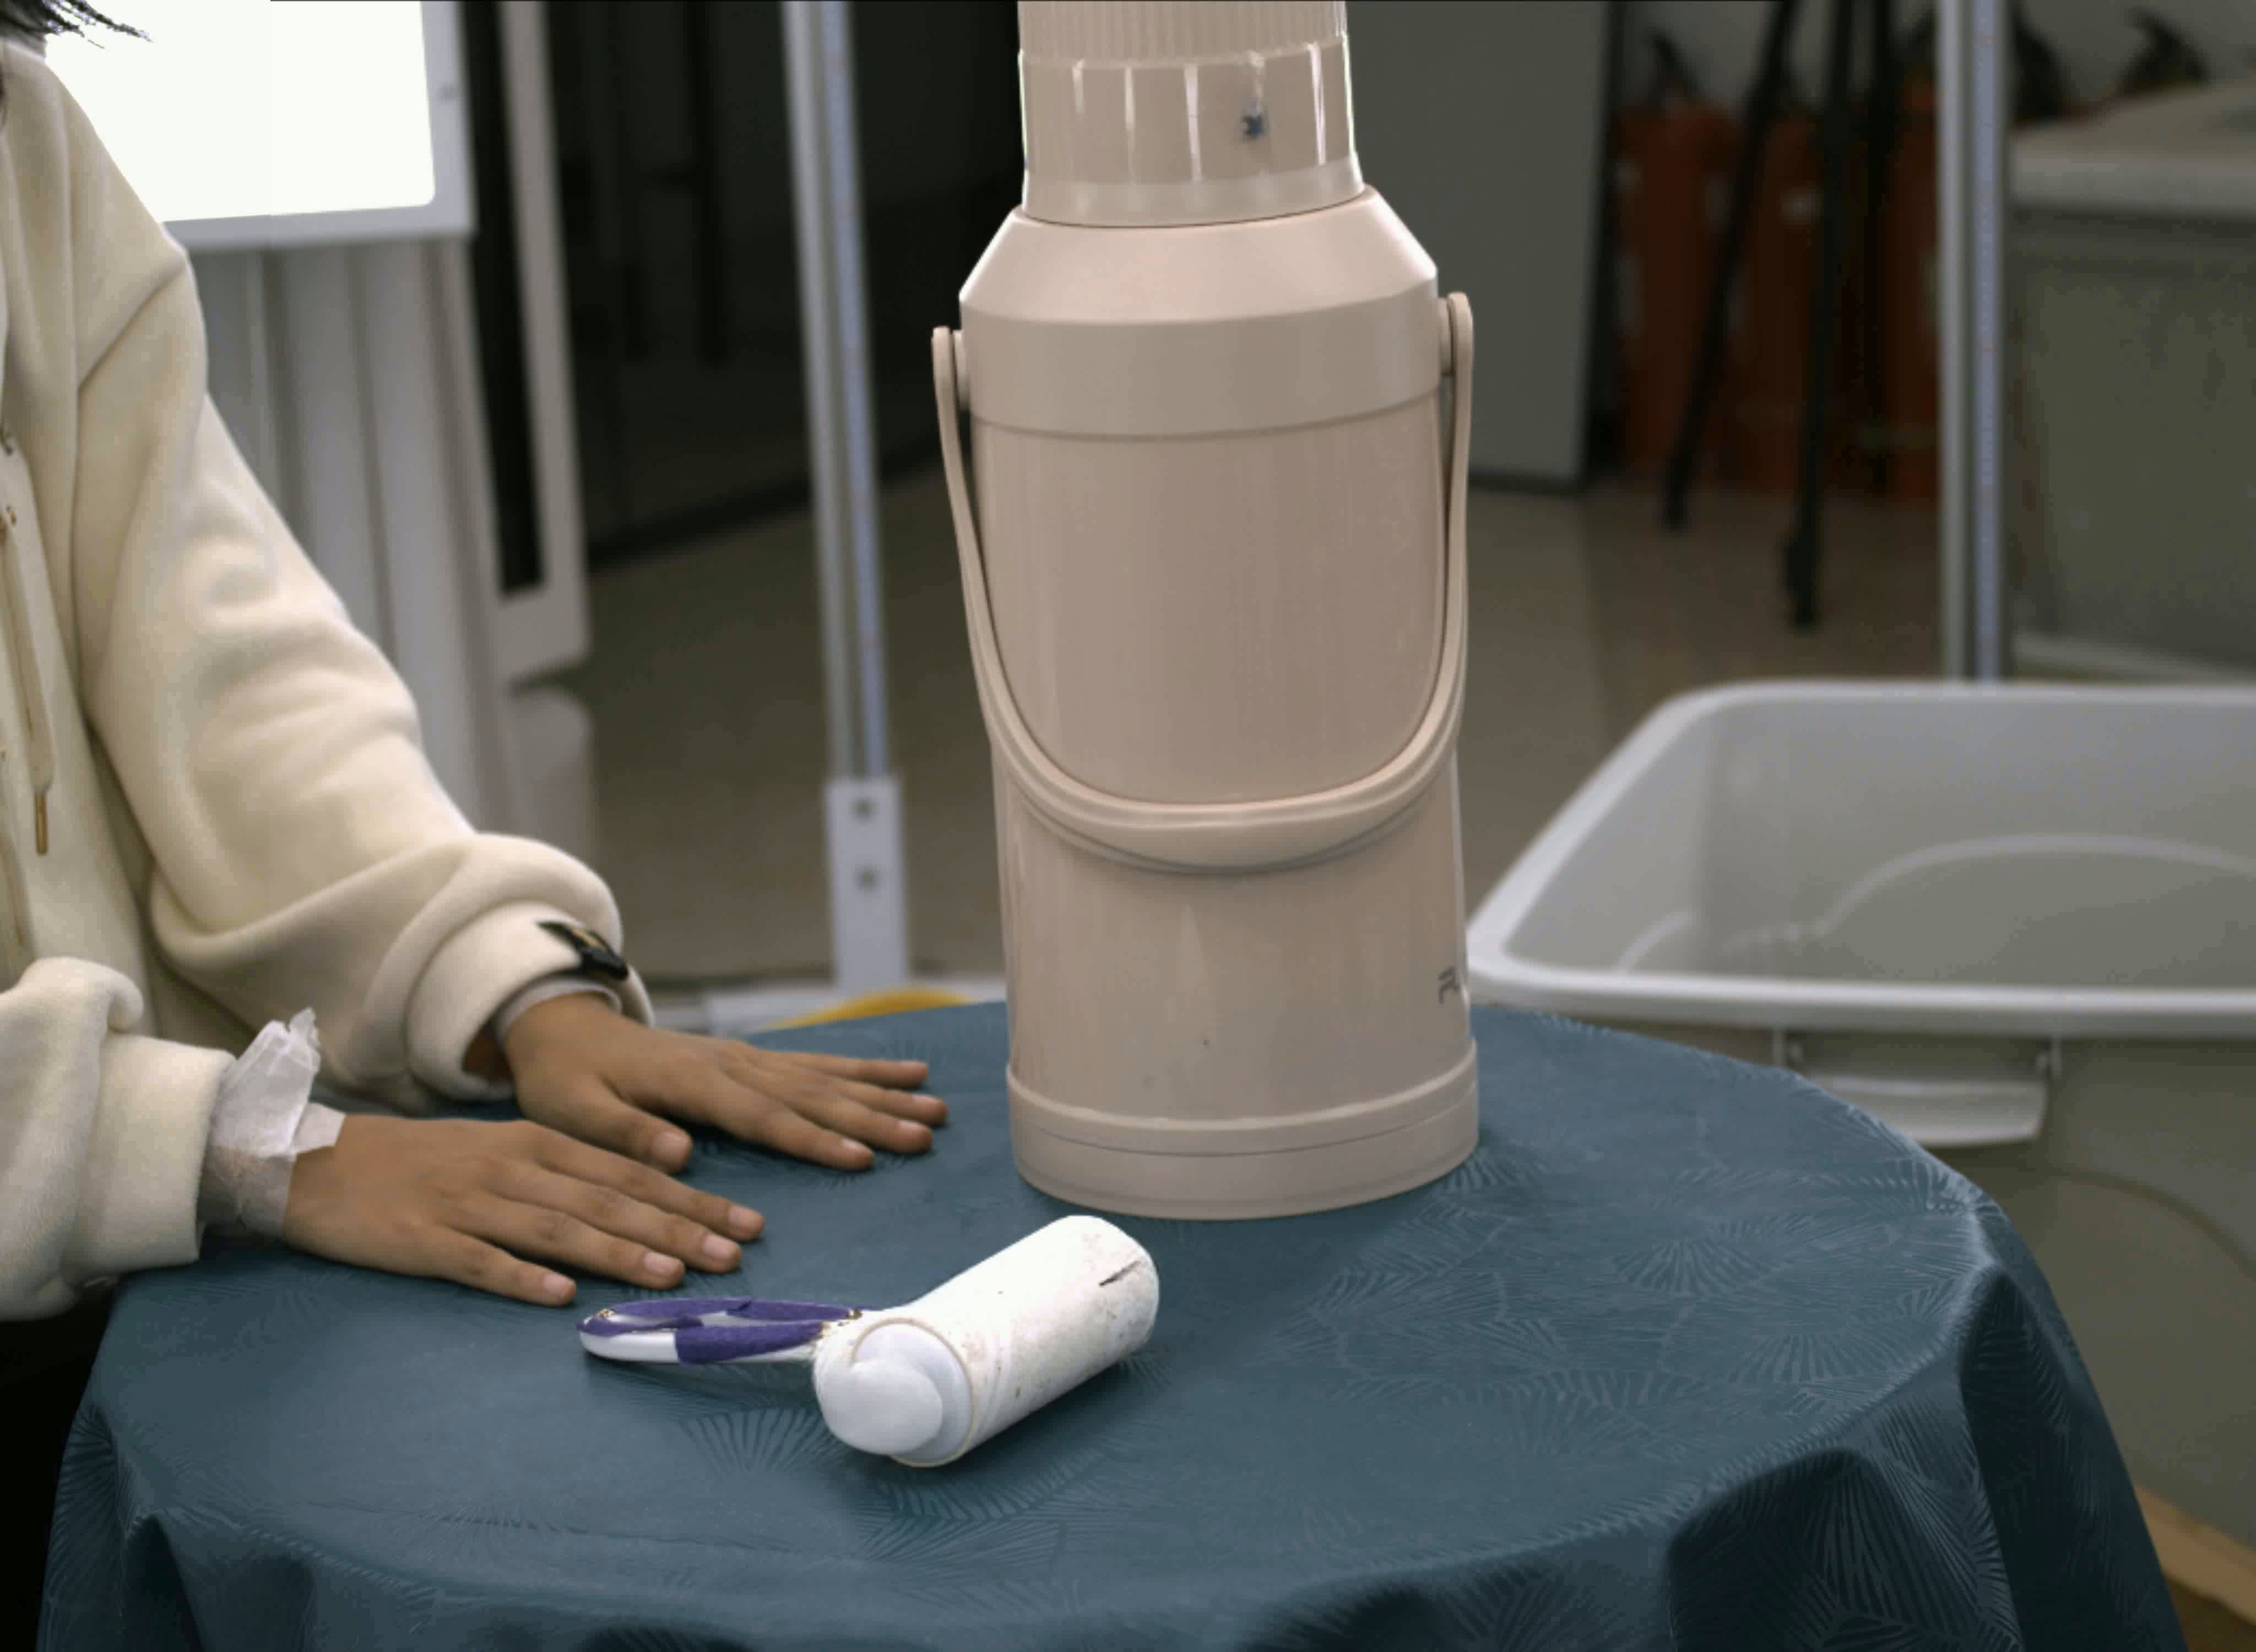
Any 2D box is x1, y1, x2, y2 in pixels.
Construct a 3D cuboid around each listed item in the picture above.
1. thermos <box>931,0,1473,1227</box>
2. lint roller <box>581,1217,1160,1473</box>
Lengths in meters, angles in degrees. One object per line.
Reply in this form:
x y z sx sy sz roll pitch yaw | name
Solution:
0.028 -0.088 1.775 0.173 0.411 0.207 -4 13 -1 | thermos
-0.089 0.143 1.606 0.182 0.051 0.130 8 19 34 | lint roller
